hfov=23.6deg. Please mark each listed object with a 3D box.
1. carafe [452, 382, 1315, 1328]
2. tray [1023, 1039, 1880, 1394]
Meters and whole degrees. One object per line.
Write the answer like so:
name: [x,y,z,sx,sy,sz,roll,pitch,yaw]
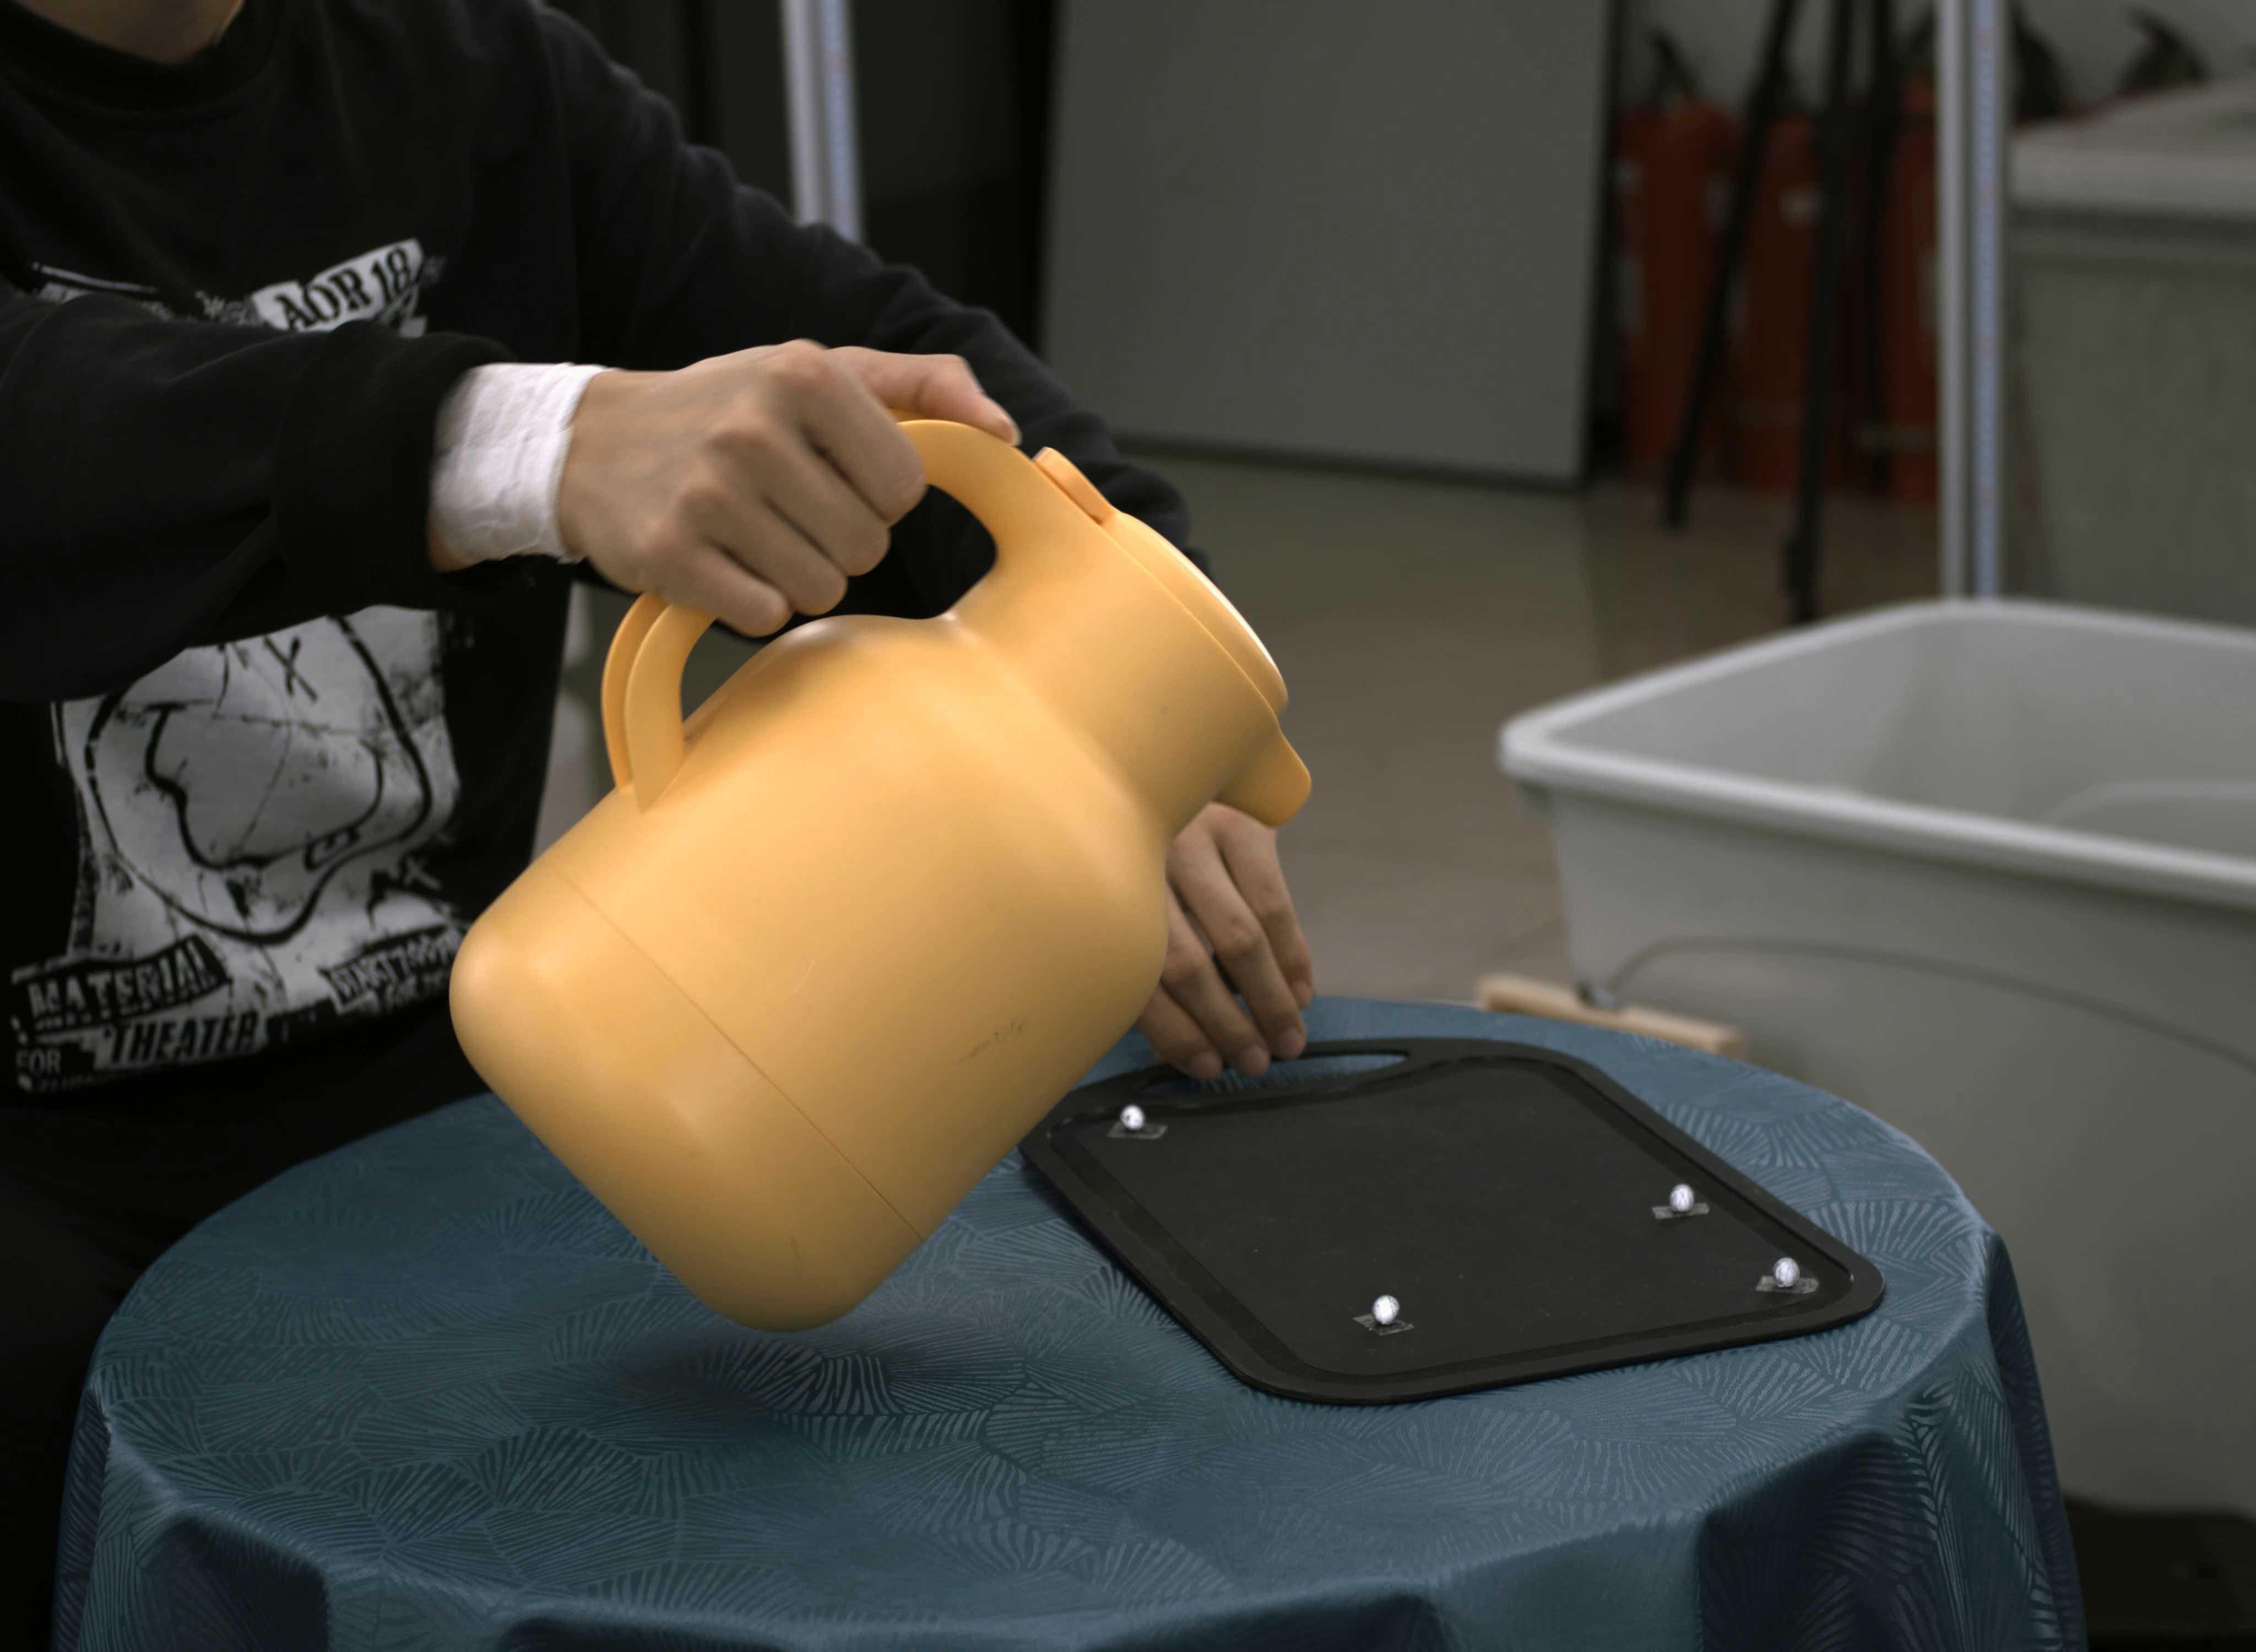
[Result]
carafe: [-0.079,0.000,1.605,0.259,0.201,0.165,-44,20,-9]
tray: [0.093,0.118,1.729,0.207,0.010,0.328,-8,16,-15]
